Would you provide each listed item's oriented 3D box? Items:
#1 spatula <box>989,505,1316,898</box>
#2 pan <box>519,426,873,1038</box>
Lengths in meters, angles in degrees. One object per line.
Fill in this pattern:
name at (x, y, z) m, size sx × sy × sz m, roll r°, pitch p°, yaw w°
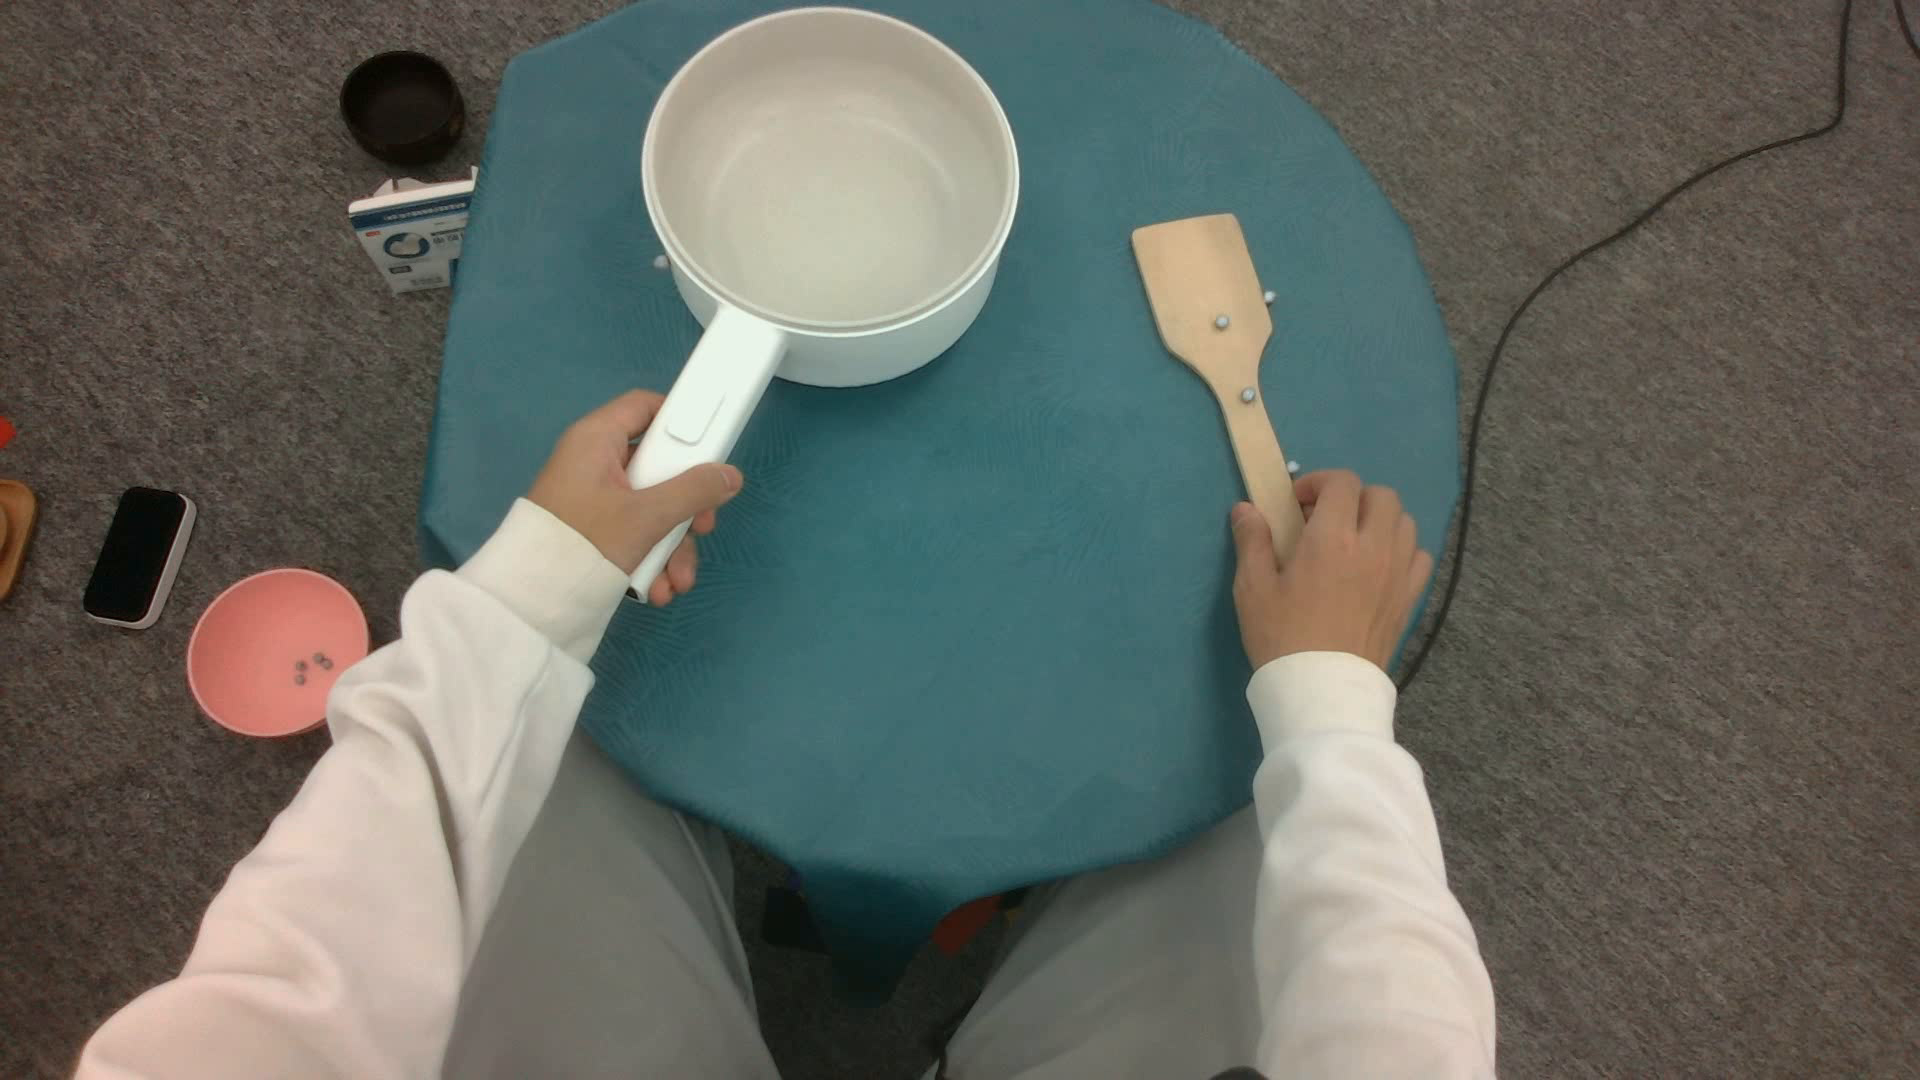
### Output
spatula at (0.119, 0.092, 0.839) m, size 0.072 × 0.010 × 0.293 m, roll -25°, pitch 58°, yaw -16°
pan at (-0.161, 0.104, 0.786) m, size 0.201 × 0.101 × 0.356 m, roll 6°, pitch 58°, yaw 4°
